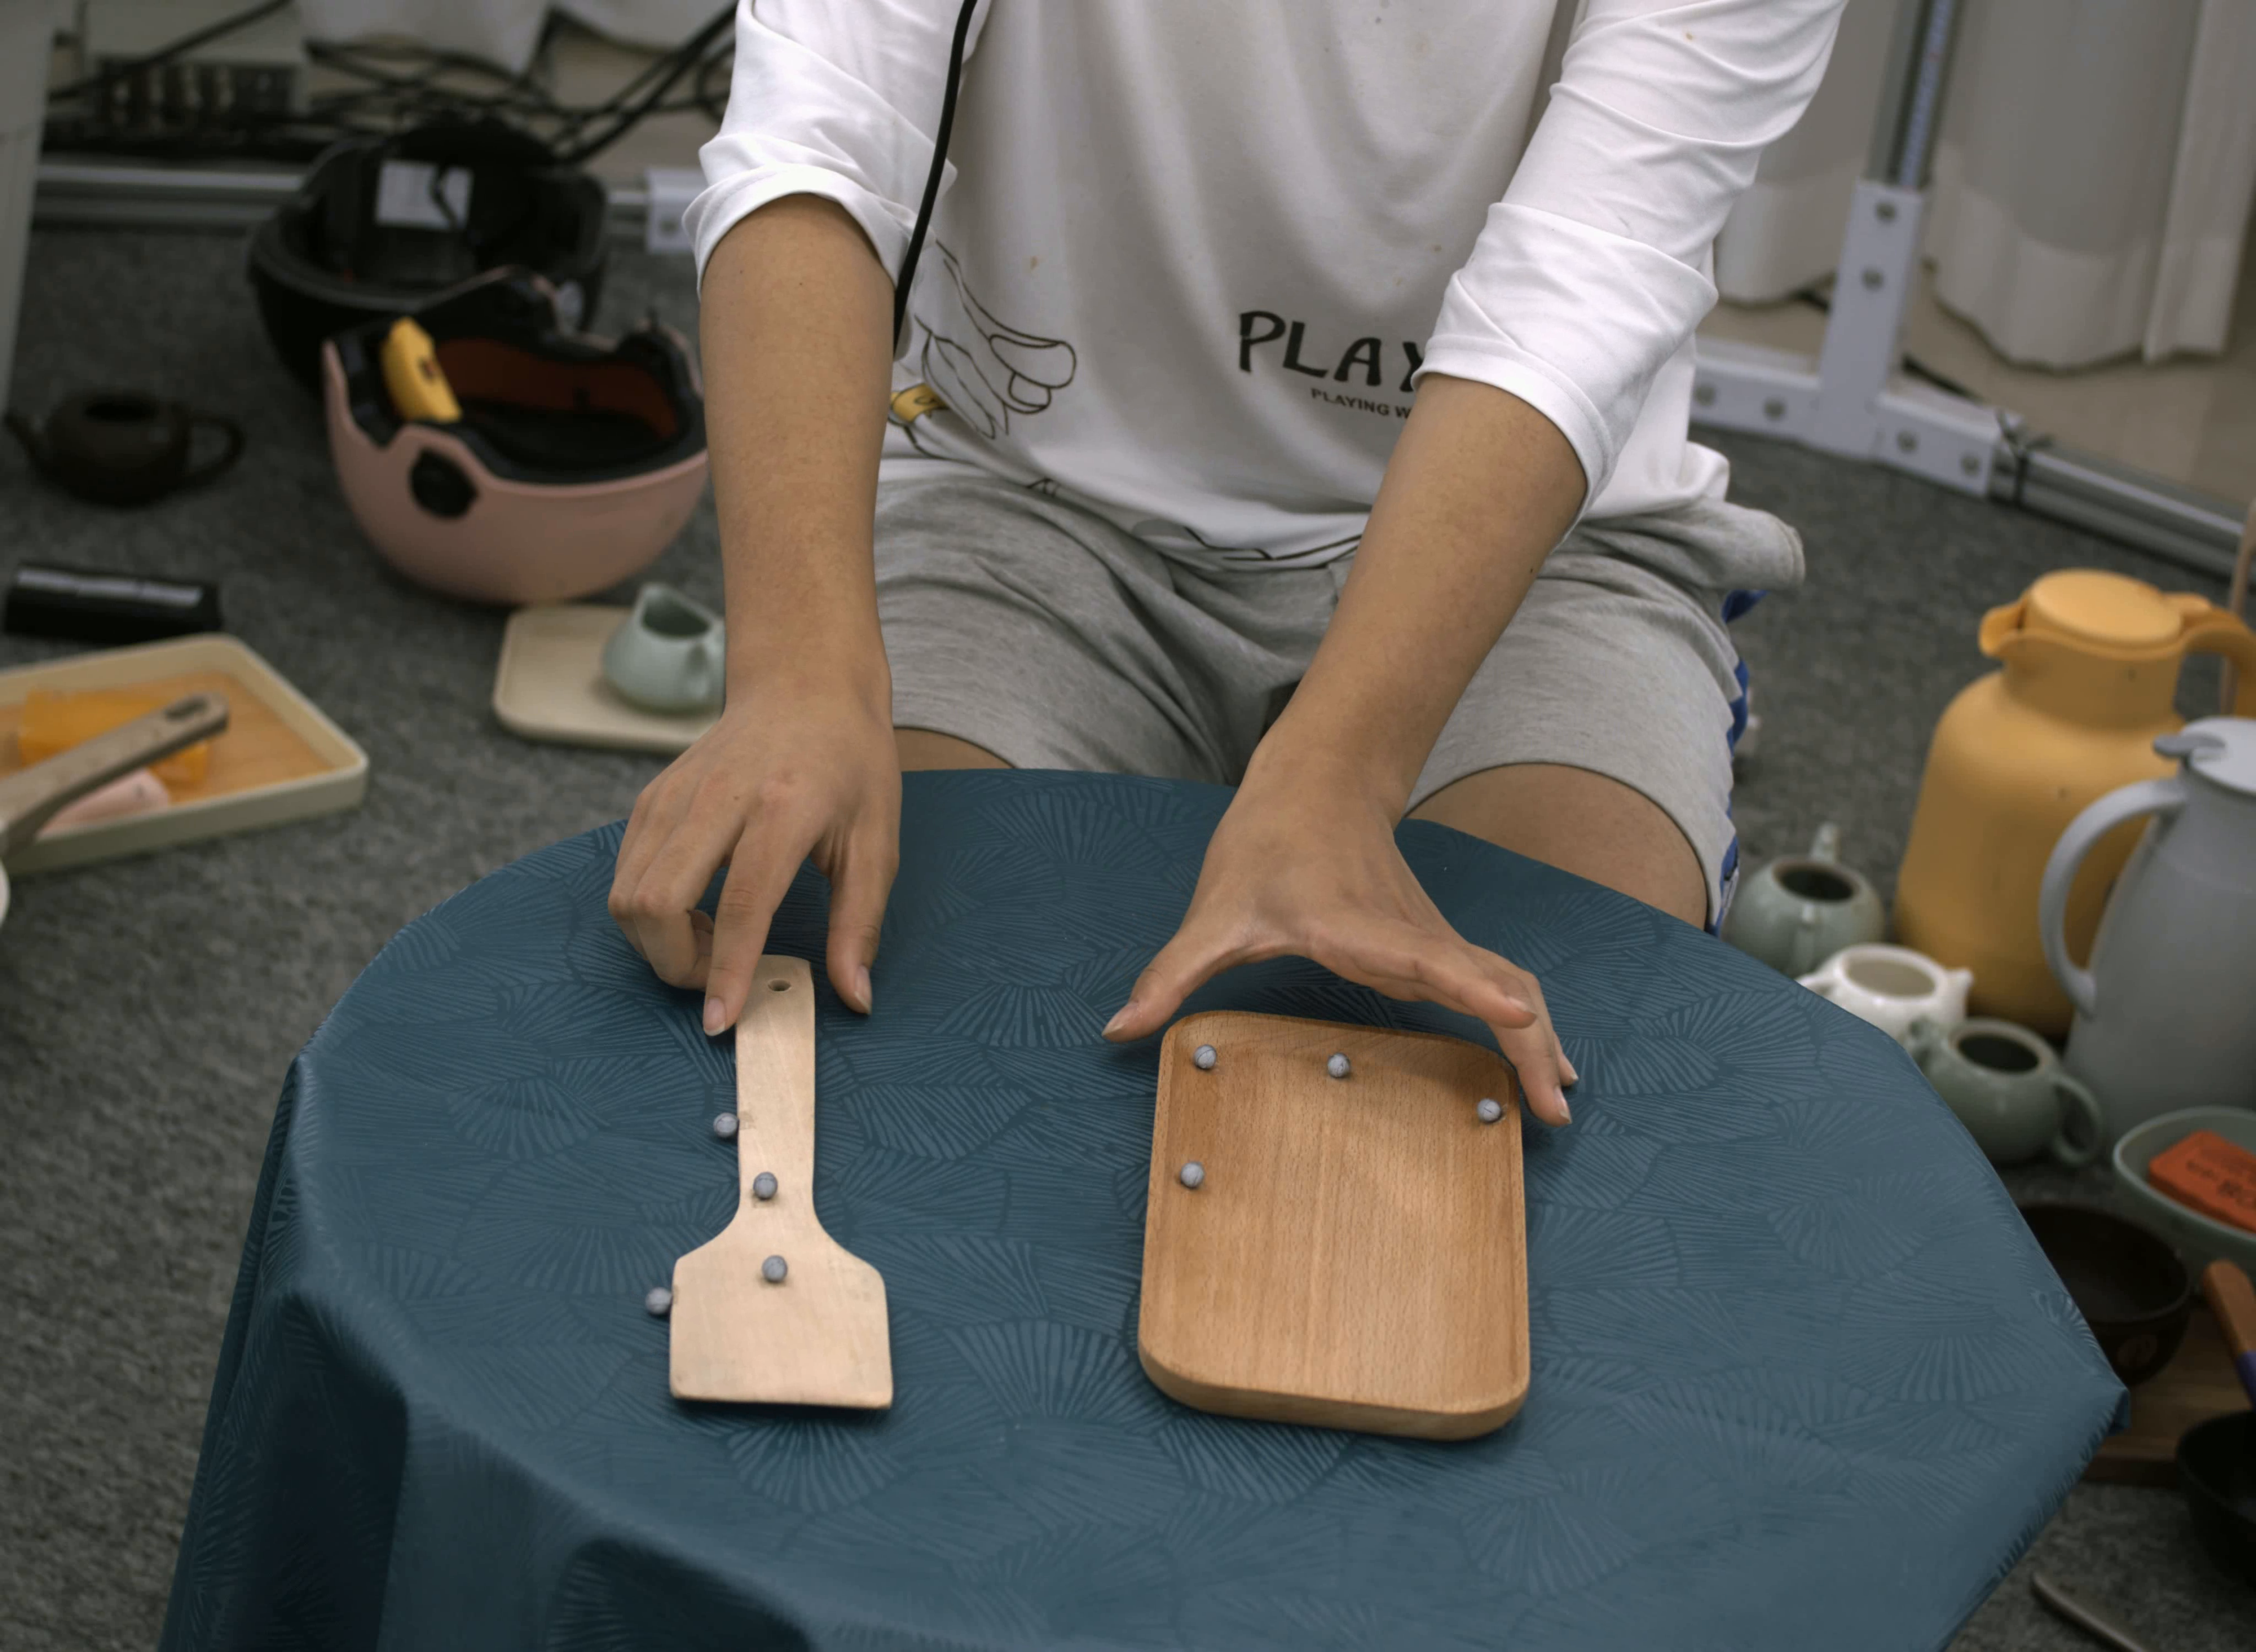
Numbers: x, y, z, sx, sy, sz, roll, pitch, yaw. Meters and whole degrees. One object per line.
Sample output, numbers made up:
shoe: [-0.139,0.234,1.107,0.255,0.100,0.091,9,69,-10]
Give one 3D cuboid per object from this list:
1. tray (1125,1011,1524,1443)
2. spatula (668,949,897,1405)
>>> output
tray: [0.068,0.132,1.788,0.130,0.023,0.252,5,27,2]
spatula: [-0.117,0.114,1.787,0.072,0.010,0.295,3,27,-6]
